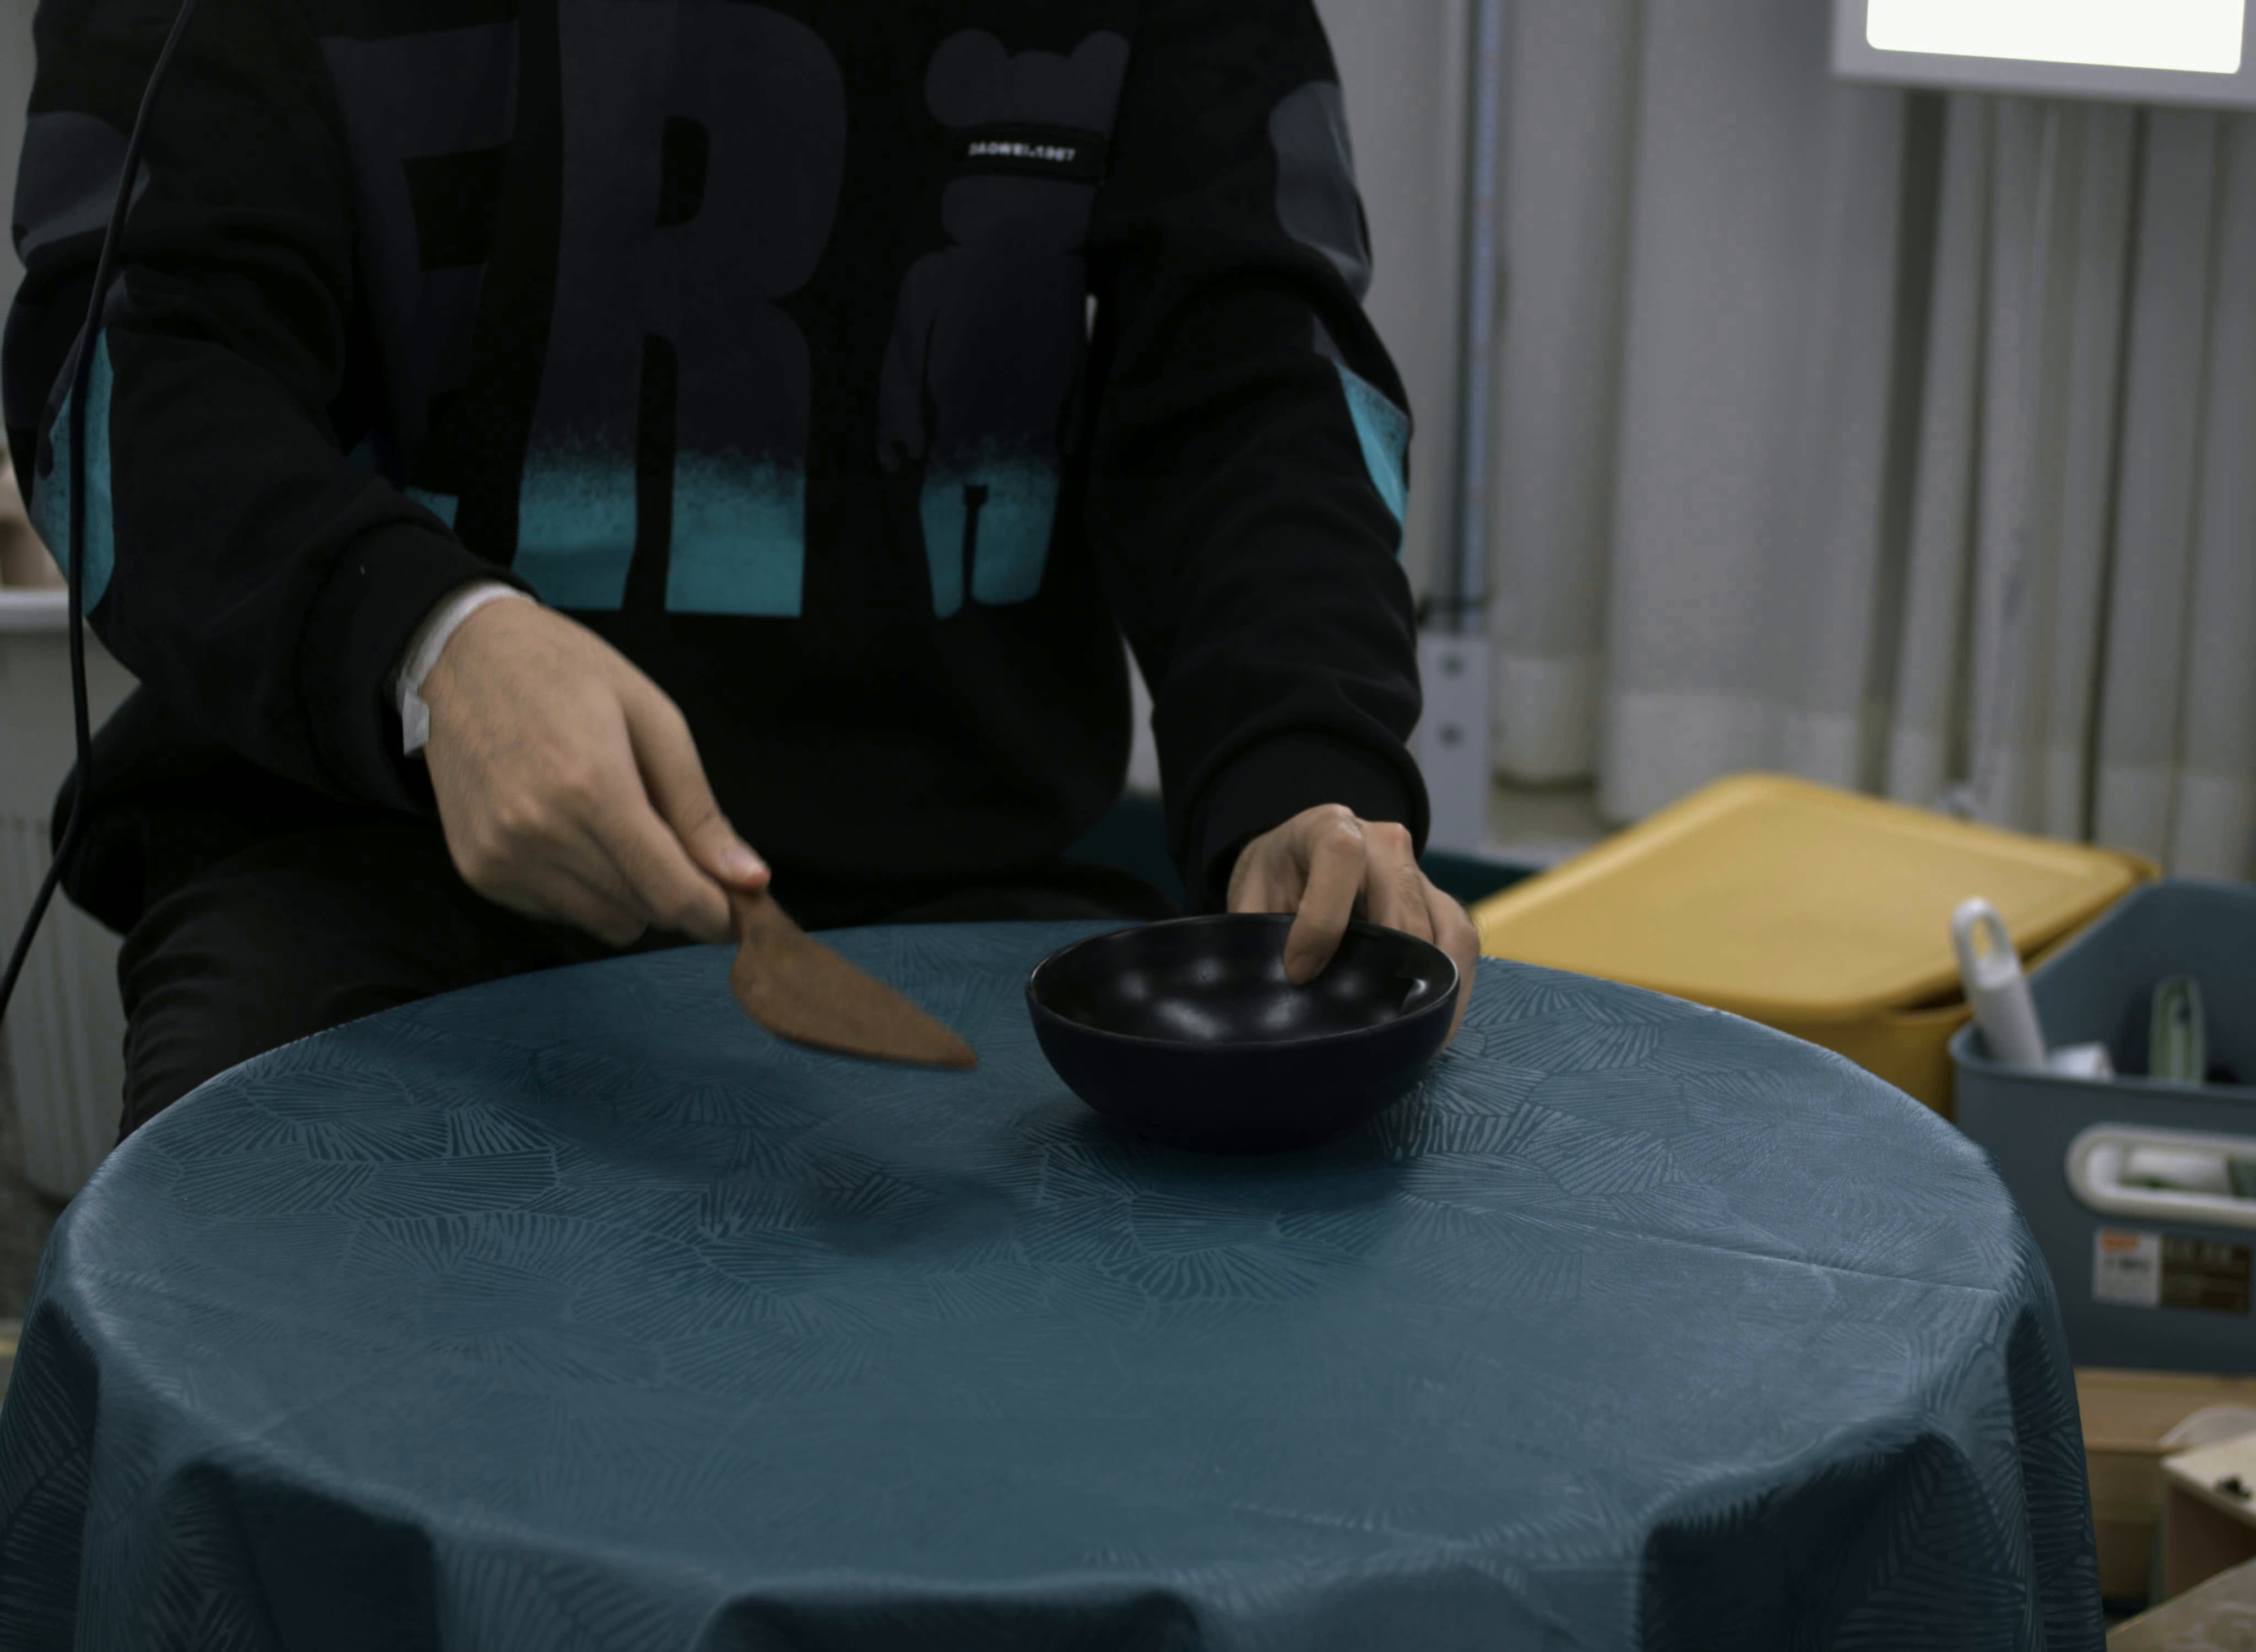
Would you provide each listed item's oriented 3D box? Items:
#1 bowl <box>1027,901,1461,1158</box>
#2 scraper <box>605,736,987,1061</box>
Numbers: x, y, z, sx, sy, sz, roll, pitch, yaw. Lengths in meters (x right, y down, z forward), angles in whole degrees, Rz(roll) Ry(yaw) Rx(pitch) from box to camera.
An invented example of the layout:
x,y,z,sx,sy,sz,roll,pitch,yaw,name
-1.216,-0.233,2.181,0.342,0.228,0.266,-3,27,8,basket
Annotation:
x,y,z,sx,sy,sz,roll,pitch,yaw,name
0.038,0.070,1.682,0.139,0.050,0.139,-3,19,2,bowl
-0.117,0.022,1.660,0.076,0.011,0.208,10,23,-35,scraper
